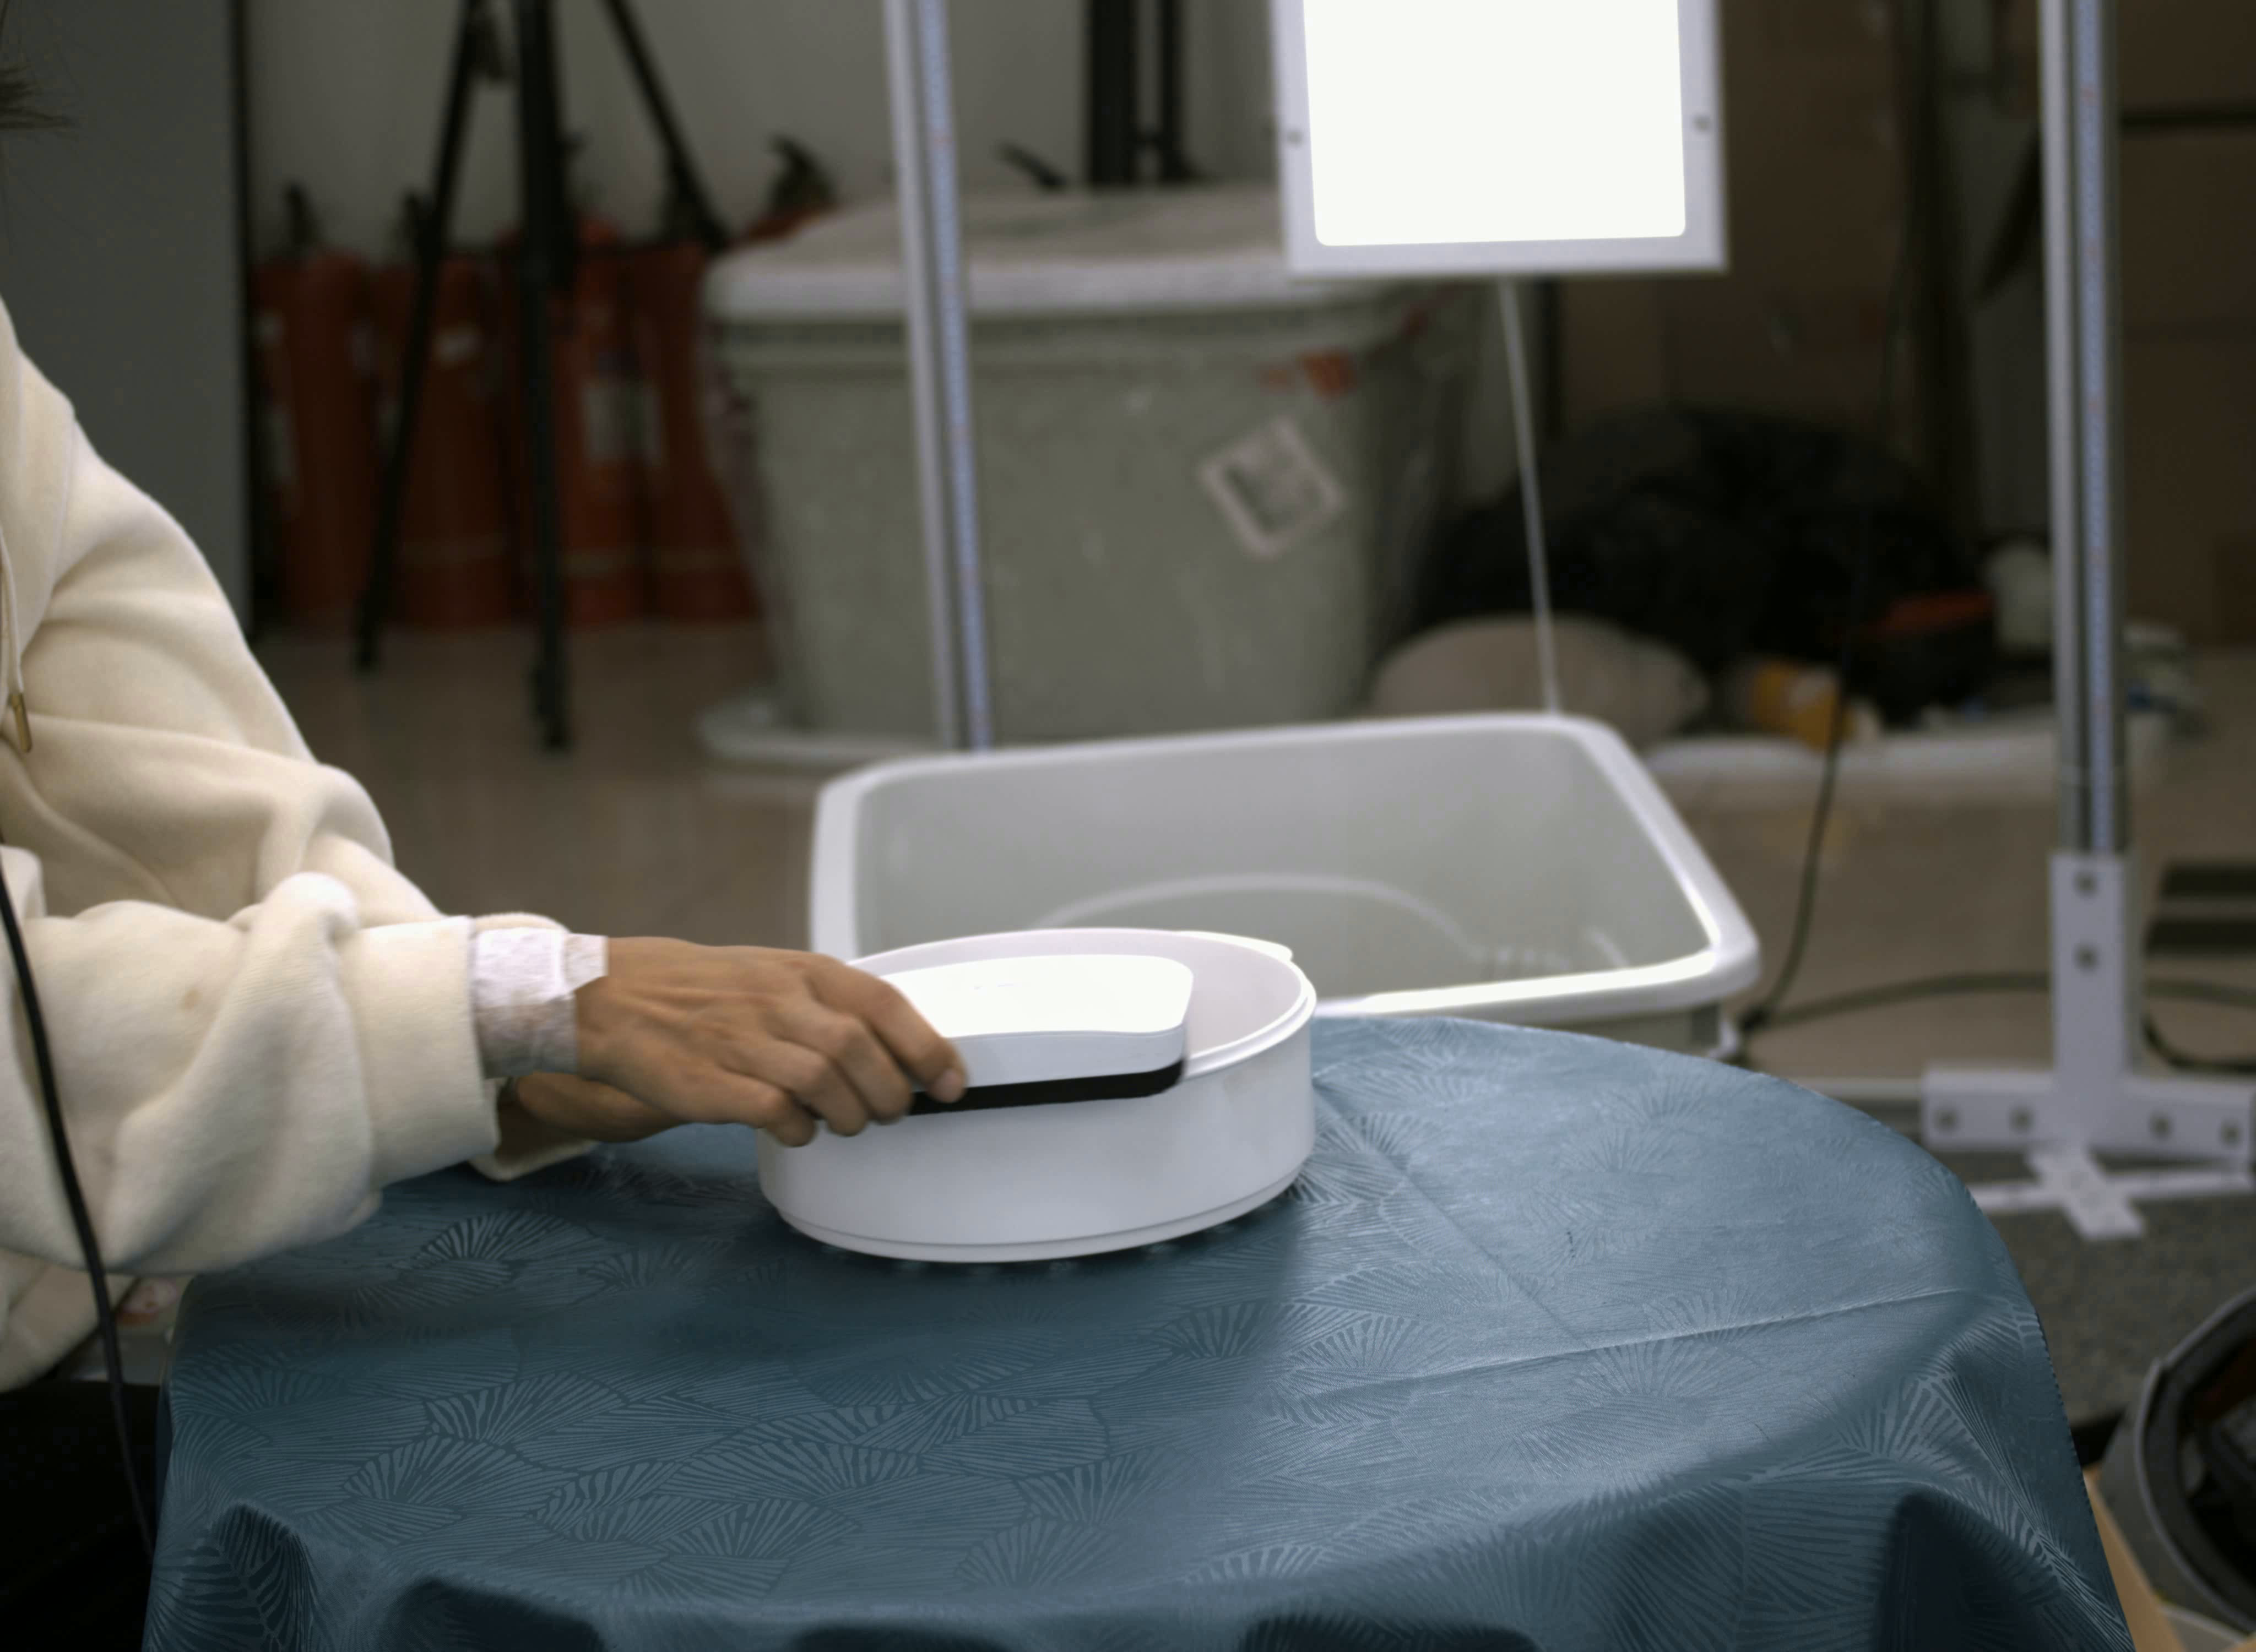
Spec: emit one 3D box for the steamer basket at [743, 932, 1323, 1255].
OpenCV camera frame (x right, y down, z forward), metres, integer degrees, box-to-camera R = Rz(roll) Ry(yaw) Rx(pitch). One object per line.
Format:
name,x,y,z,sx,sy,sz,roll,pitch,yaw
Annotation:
steamer basket,-0.031,0.093,1.906,0.206,0.069,0.224,8,17,43

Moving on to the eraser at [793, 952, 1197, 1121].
eraser,-0.042,0.068,1.803,0.132,0.034,0.063,-4,21,10
